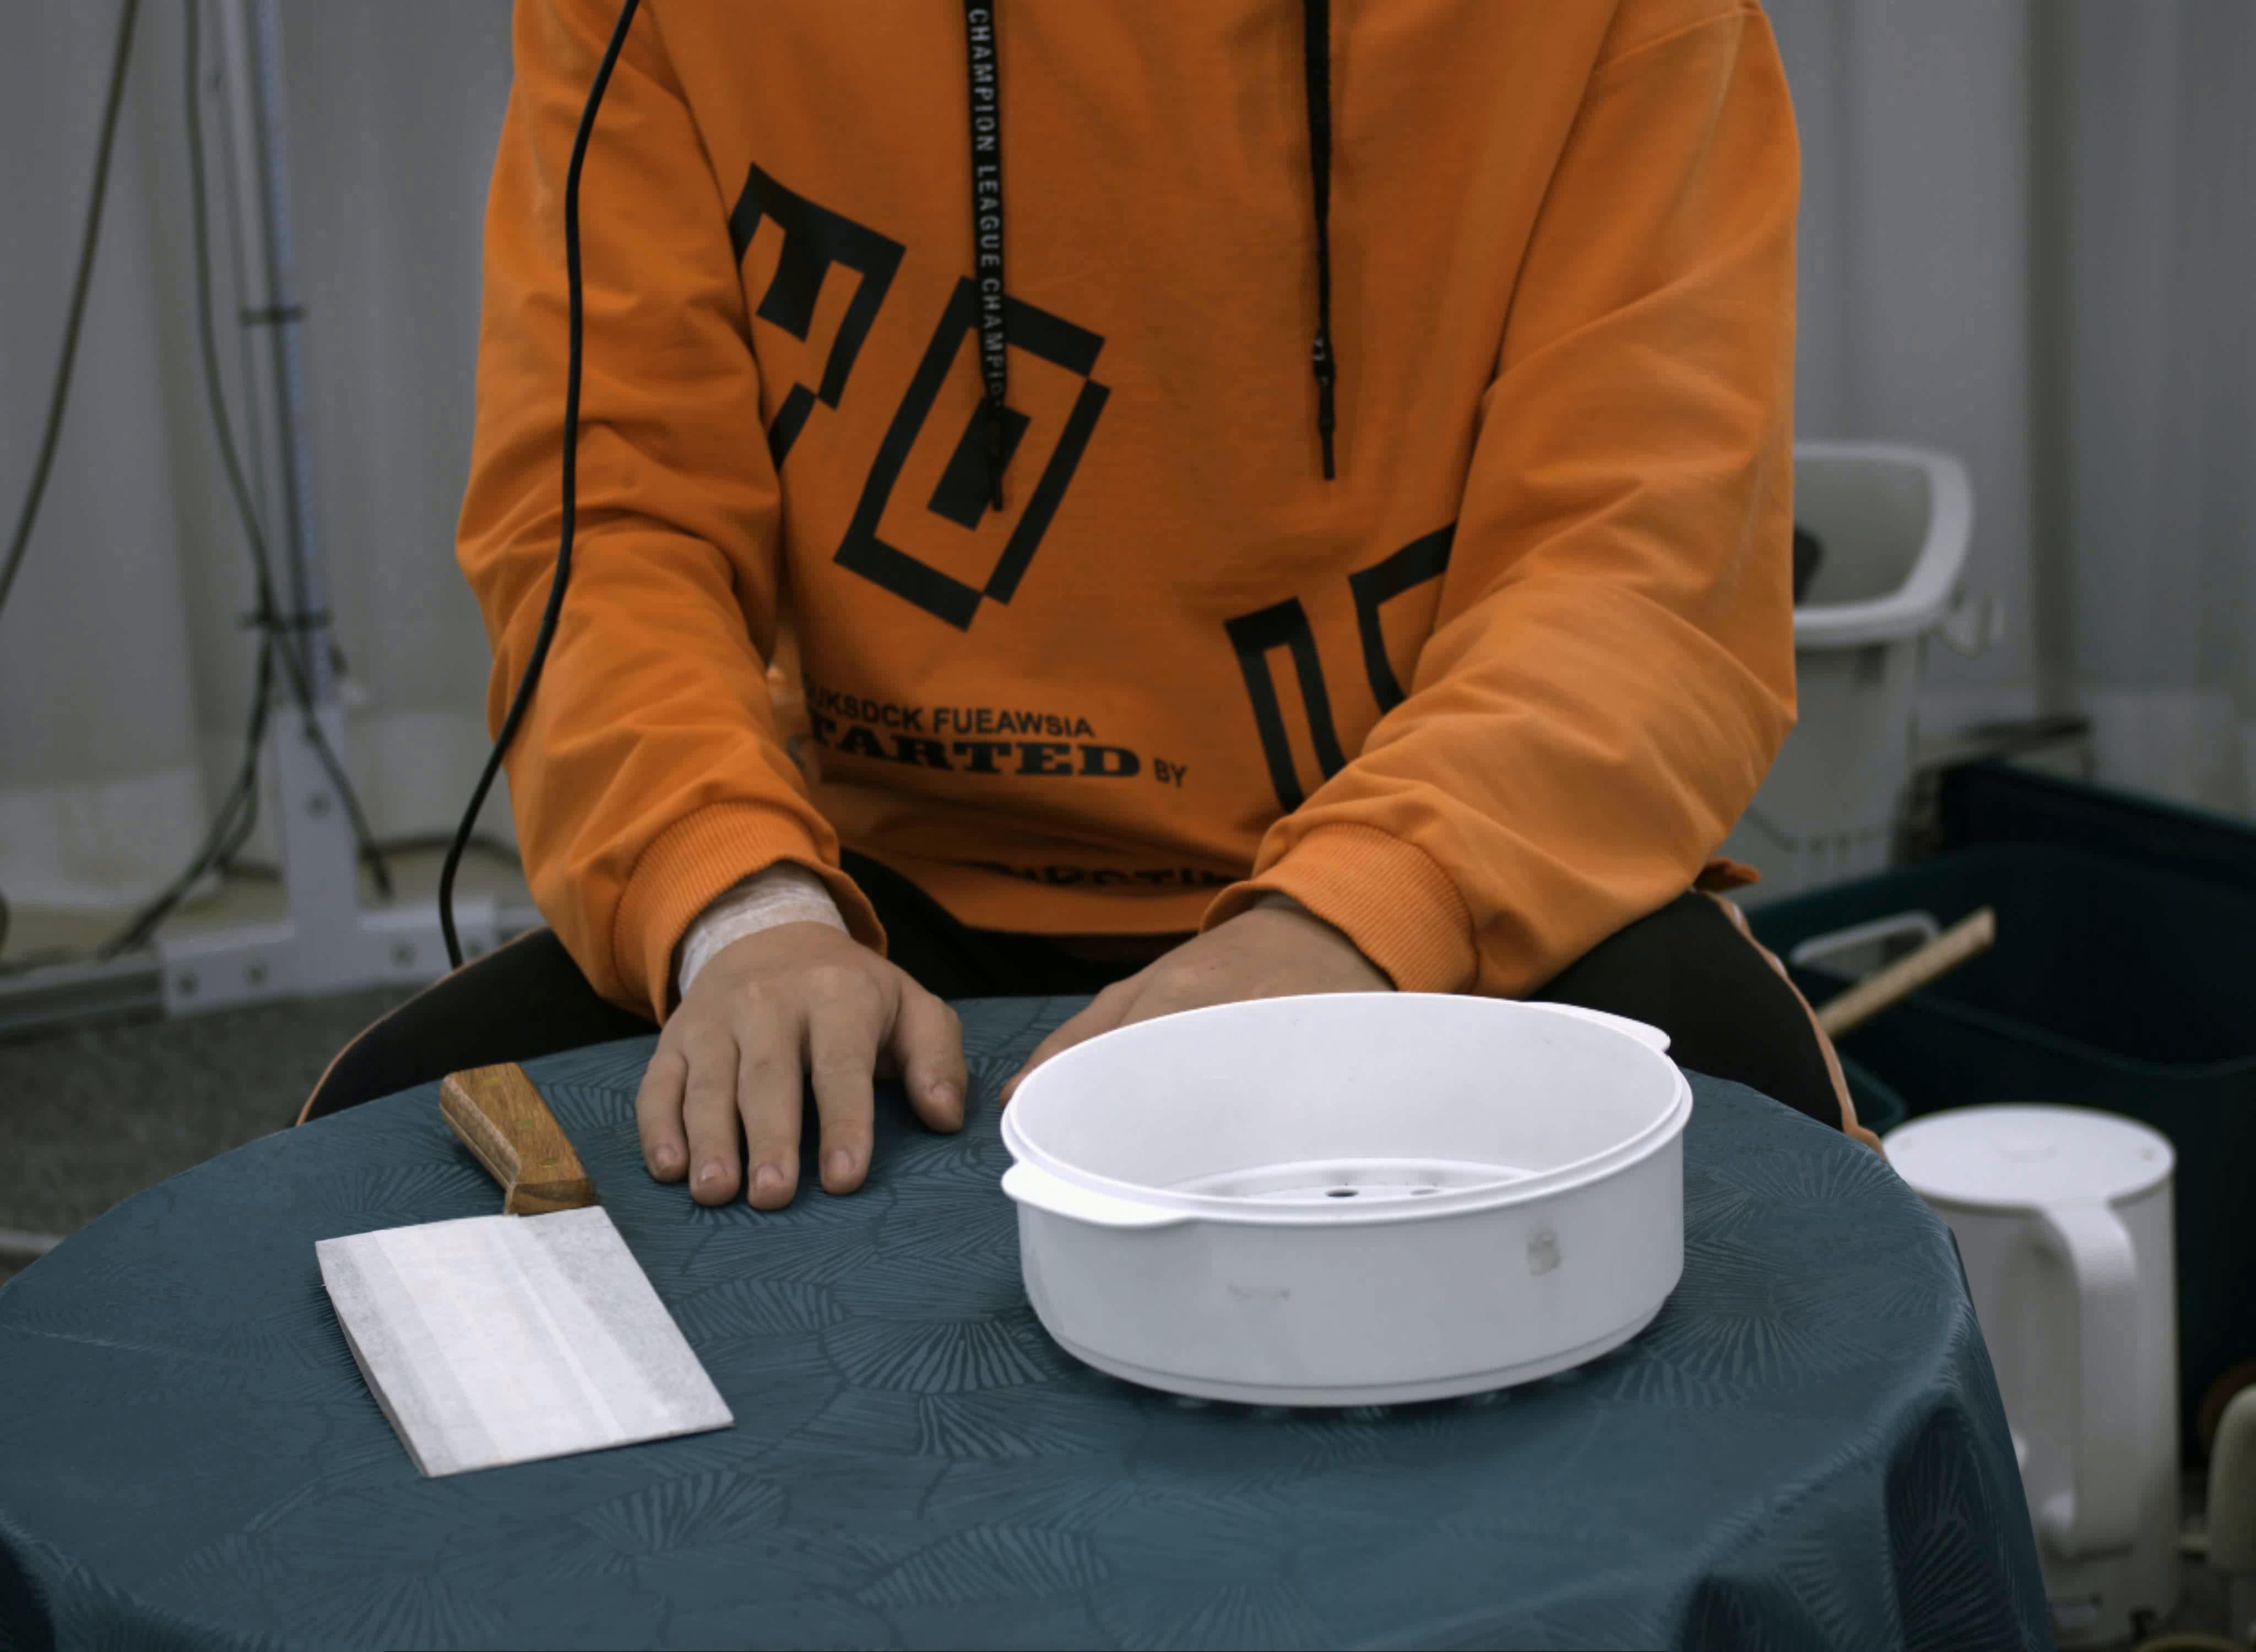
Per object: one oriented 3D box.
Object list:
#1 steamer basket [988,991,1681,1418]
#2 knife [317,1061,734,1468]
[{"bbox_3d":[0.061,0.110,1.589,0.230,0.069,0.203,-18,20,-39],"label":"steamer basket"},{"bbox_3d":[-0.195,0.132,1.660,0.092,0.021,0.308,-9,18,-15],"label":"knife"}]
